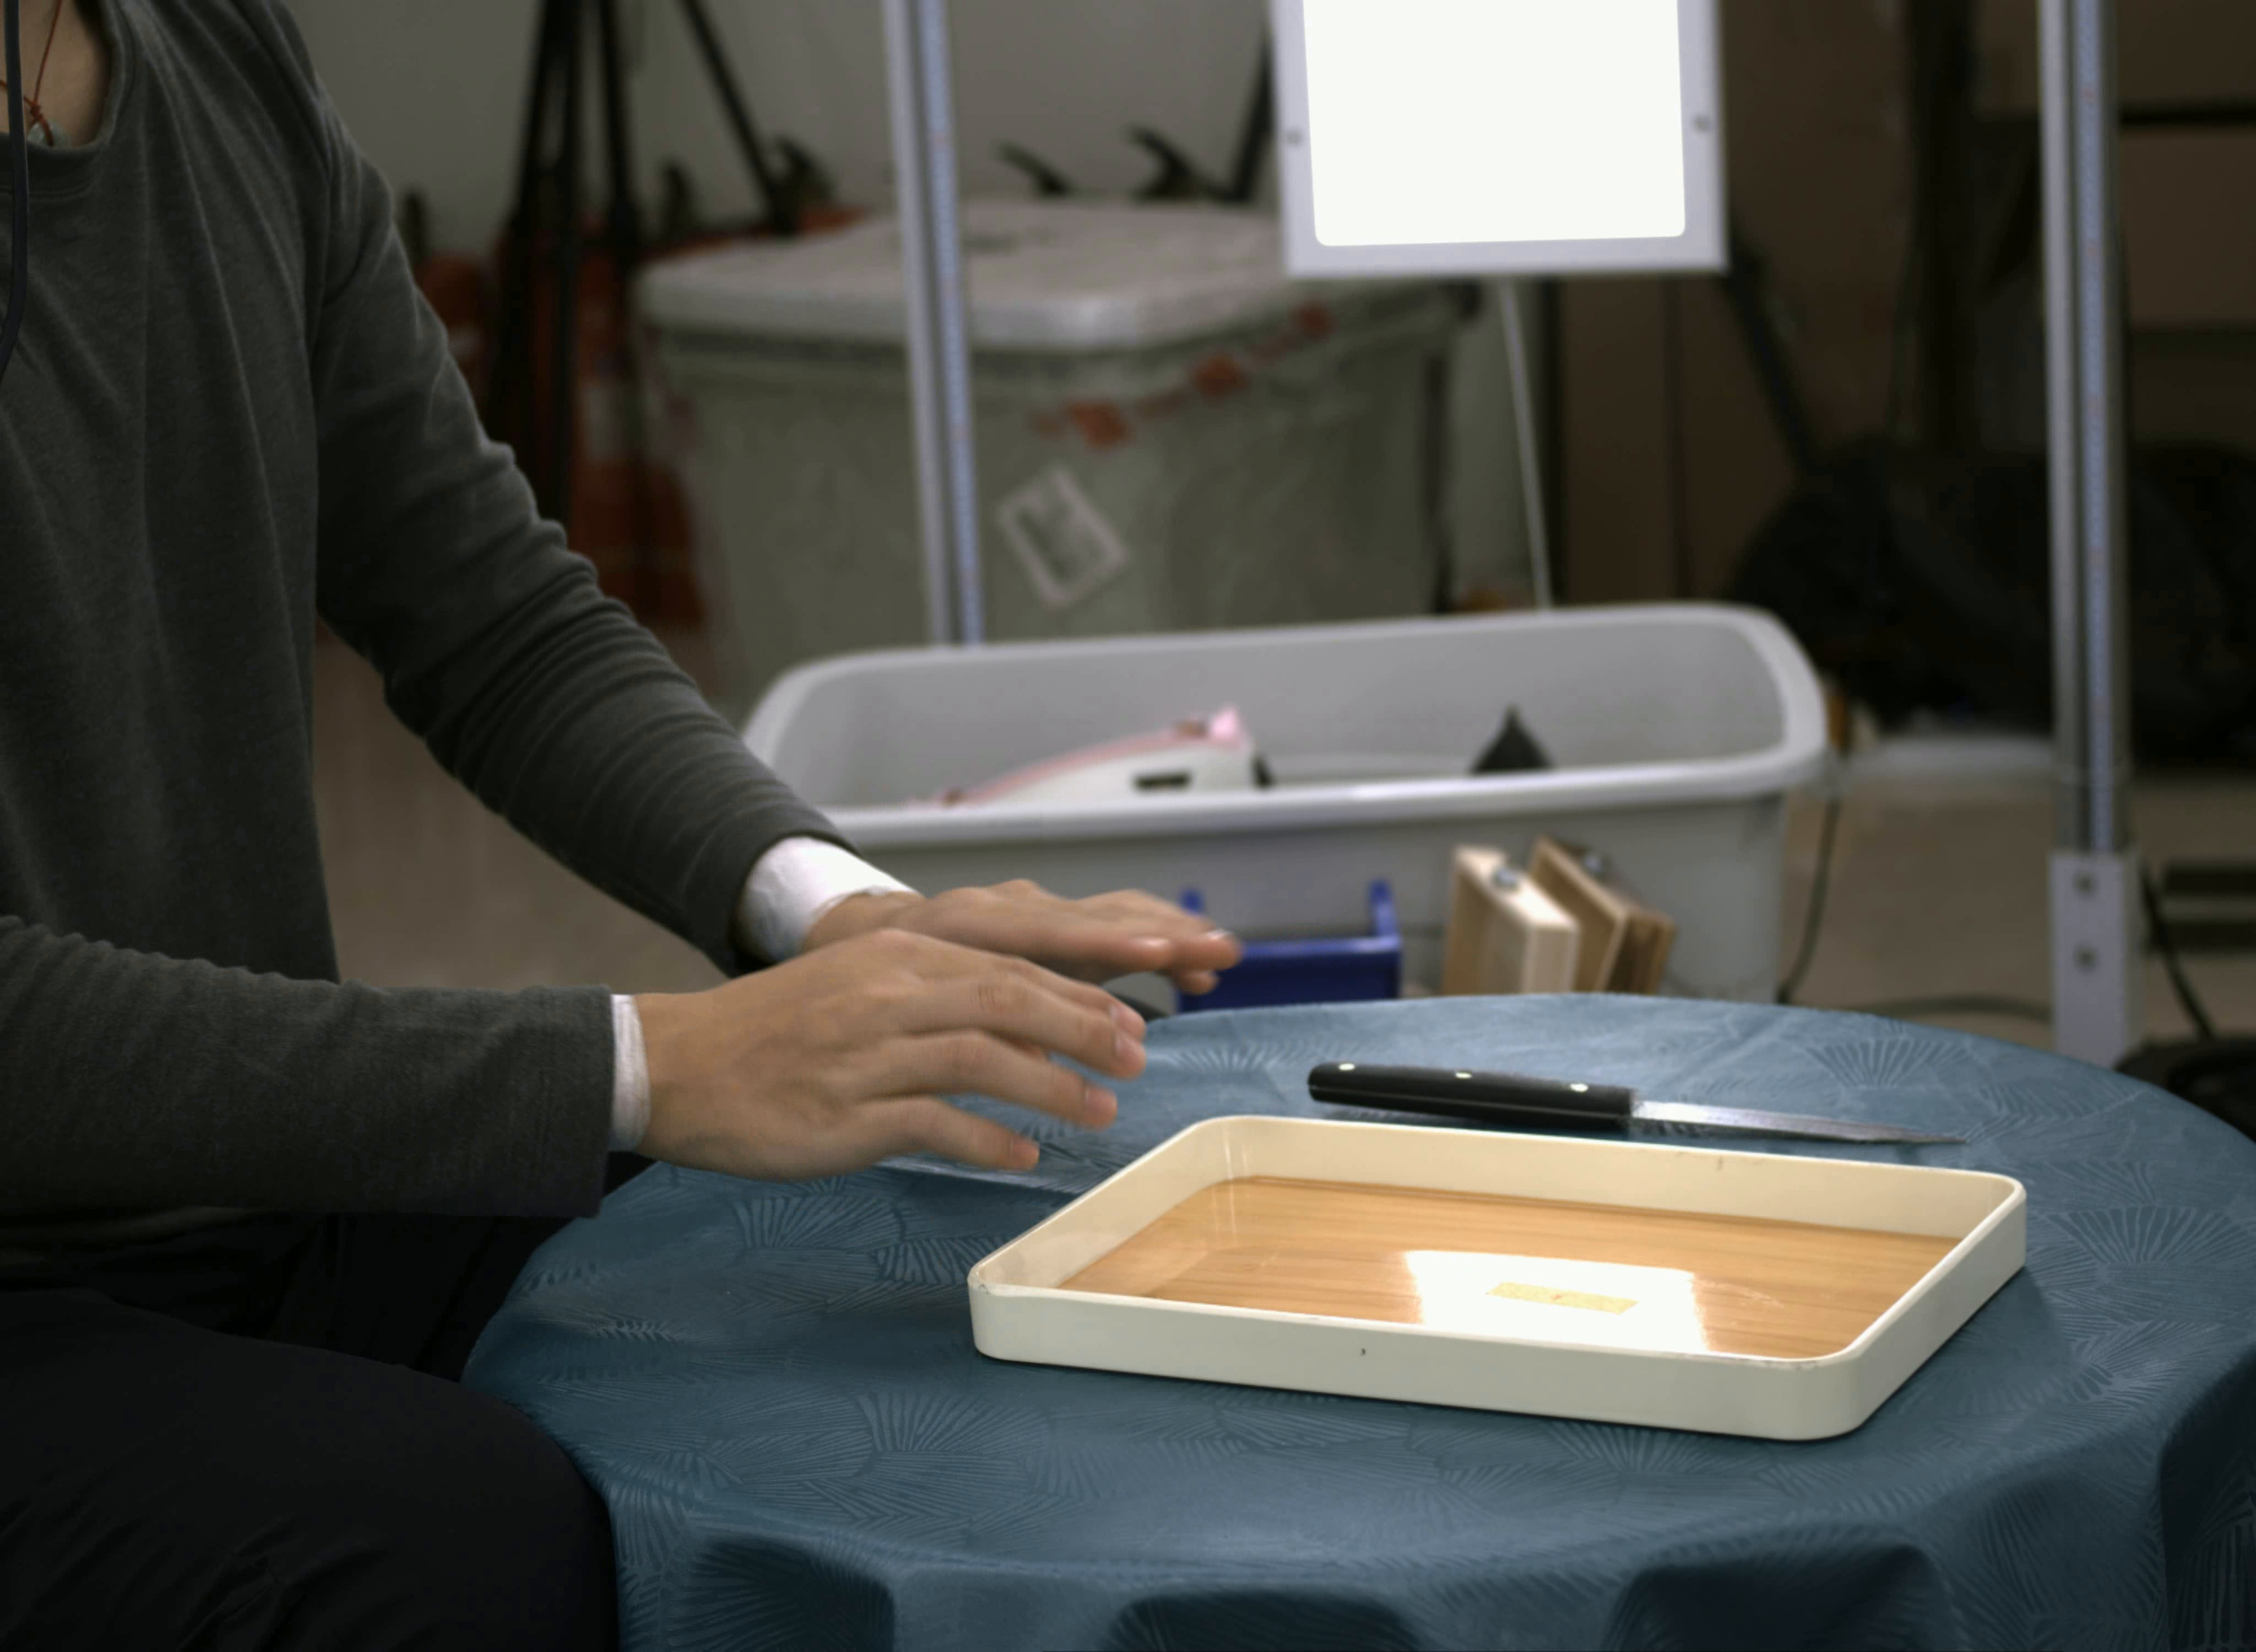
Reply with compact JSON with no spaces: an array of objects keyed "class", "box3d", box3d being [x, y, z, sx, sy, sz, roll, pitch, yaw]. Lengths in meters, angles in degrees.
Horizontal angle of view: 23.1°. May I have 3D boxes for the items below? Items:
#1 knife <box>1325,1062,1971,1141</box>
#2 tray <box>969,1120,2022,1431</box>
[{"class":"knife","box3d":[0.180,0.100,1.923,0.241,0.016,0.024,4,19,23]},{"class":"tray","box3d":[0.119,0.140,1.748,0.306,0.027,0.187,3,14,30]}]
